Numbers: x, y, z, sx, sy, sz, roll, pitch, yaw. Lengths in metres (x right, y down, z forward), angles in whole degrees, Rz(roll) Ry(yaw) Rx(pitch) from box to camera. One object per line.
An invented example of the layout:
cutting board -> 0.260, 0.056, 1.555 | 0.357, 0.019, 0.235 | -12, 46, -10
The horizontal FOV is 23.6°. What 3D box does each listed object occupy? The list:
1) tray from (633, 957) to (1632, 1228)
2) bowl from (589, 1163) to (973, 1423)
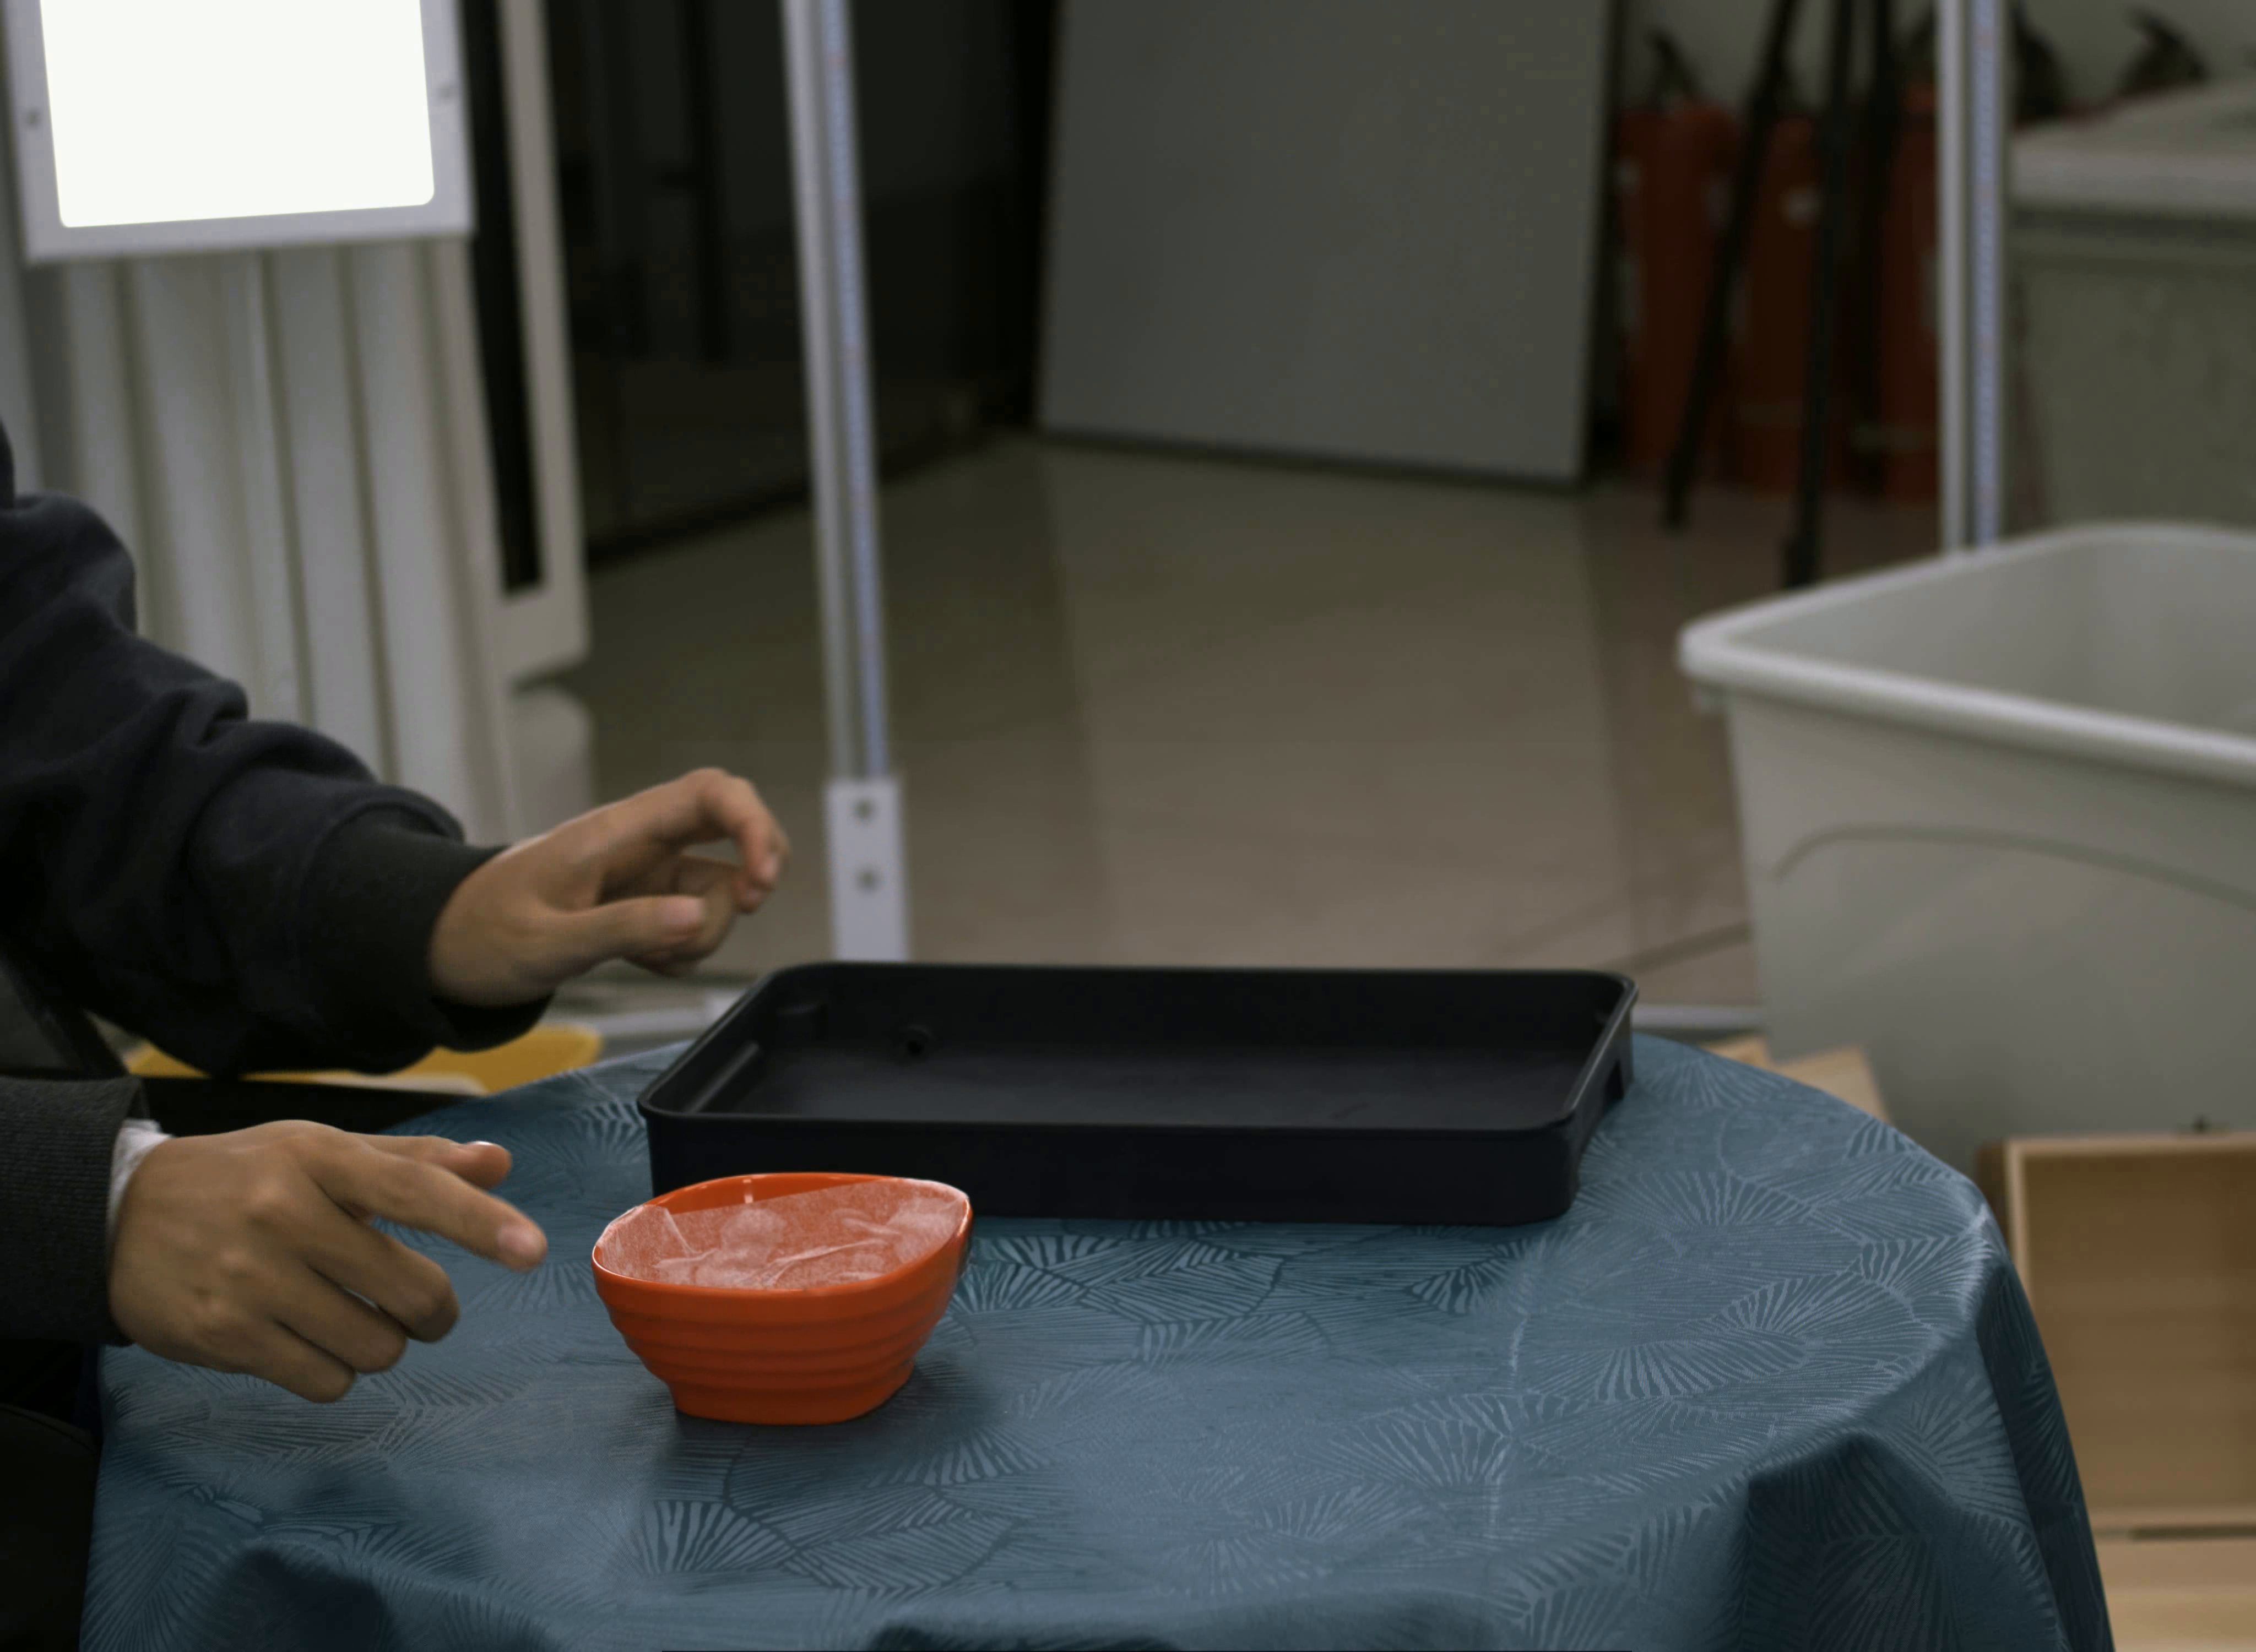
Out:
tray -> 0.005, 0.088, 1.821 | 0.316, 0.037, 0.183 | 1, 14, 15
bowl -> -0.101, 0.141, 1.601 | 0.117, 0.052, 0.119 | -3, 15, 0
